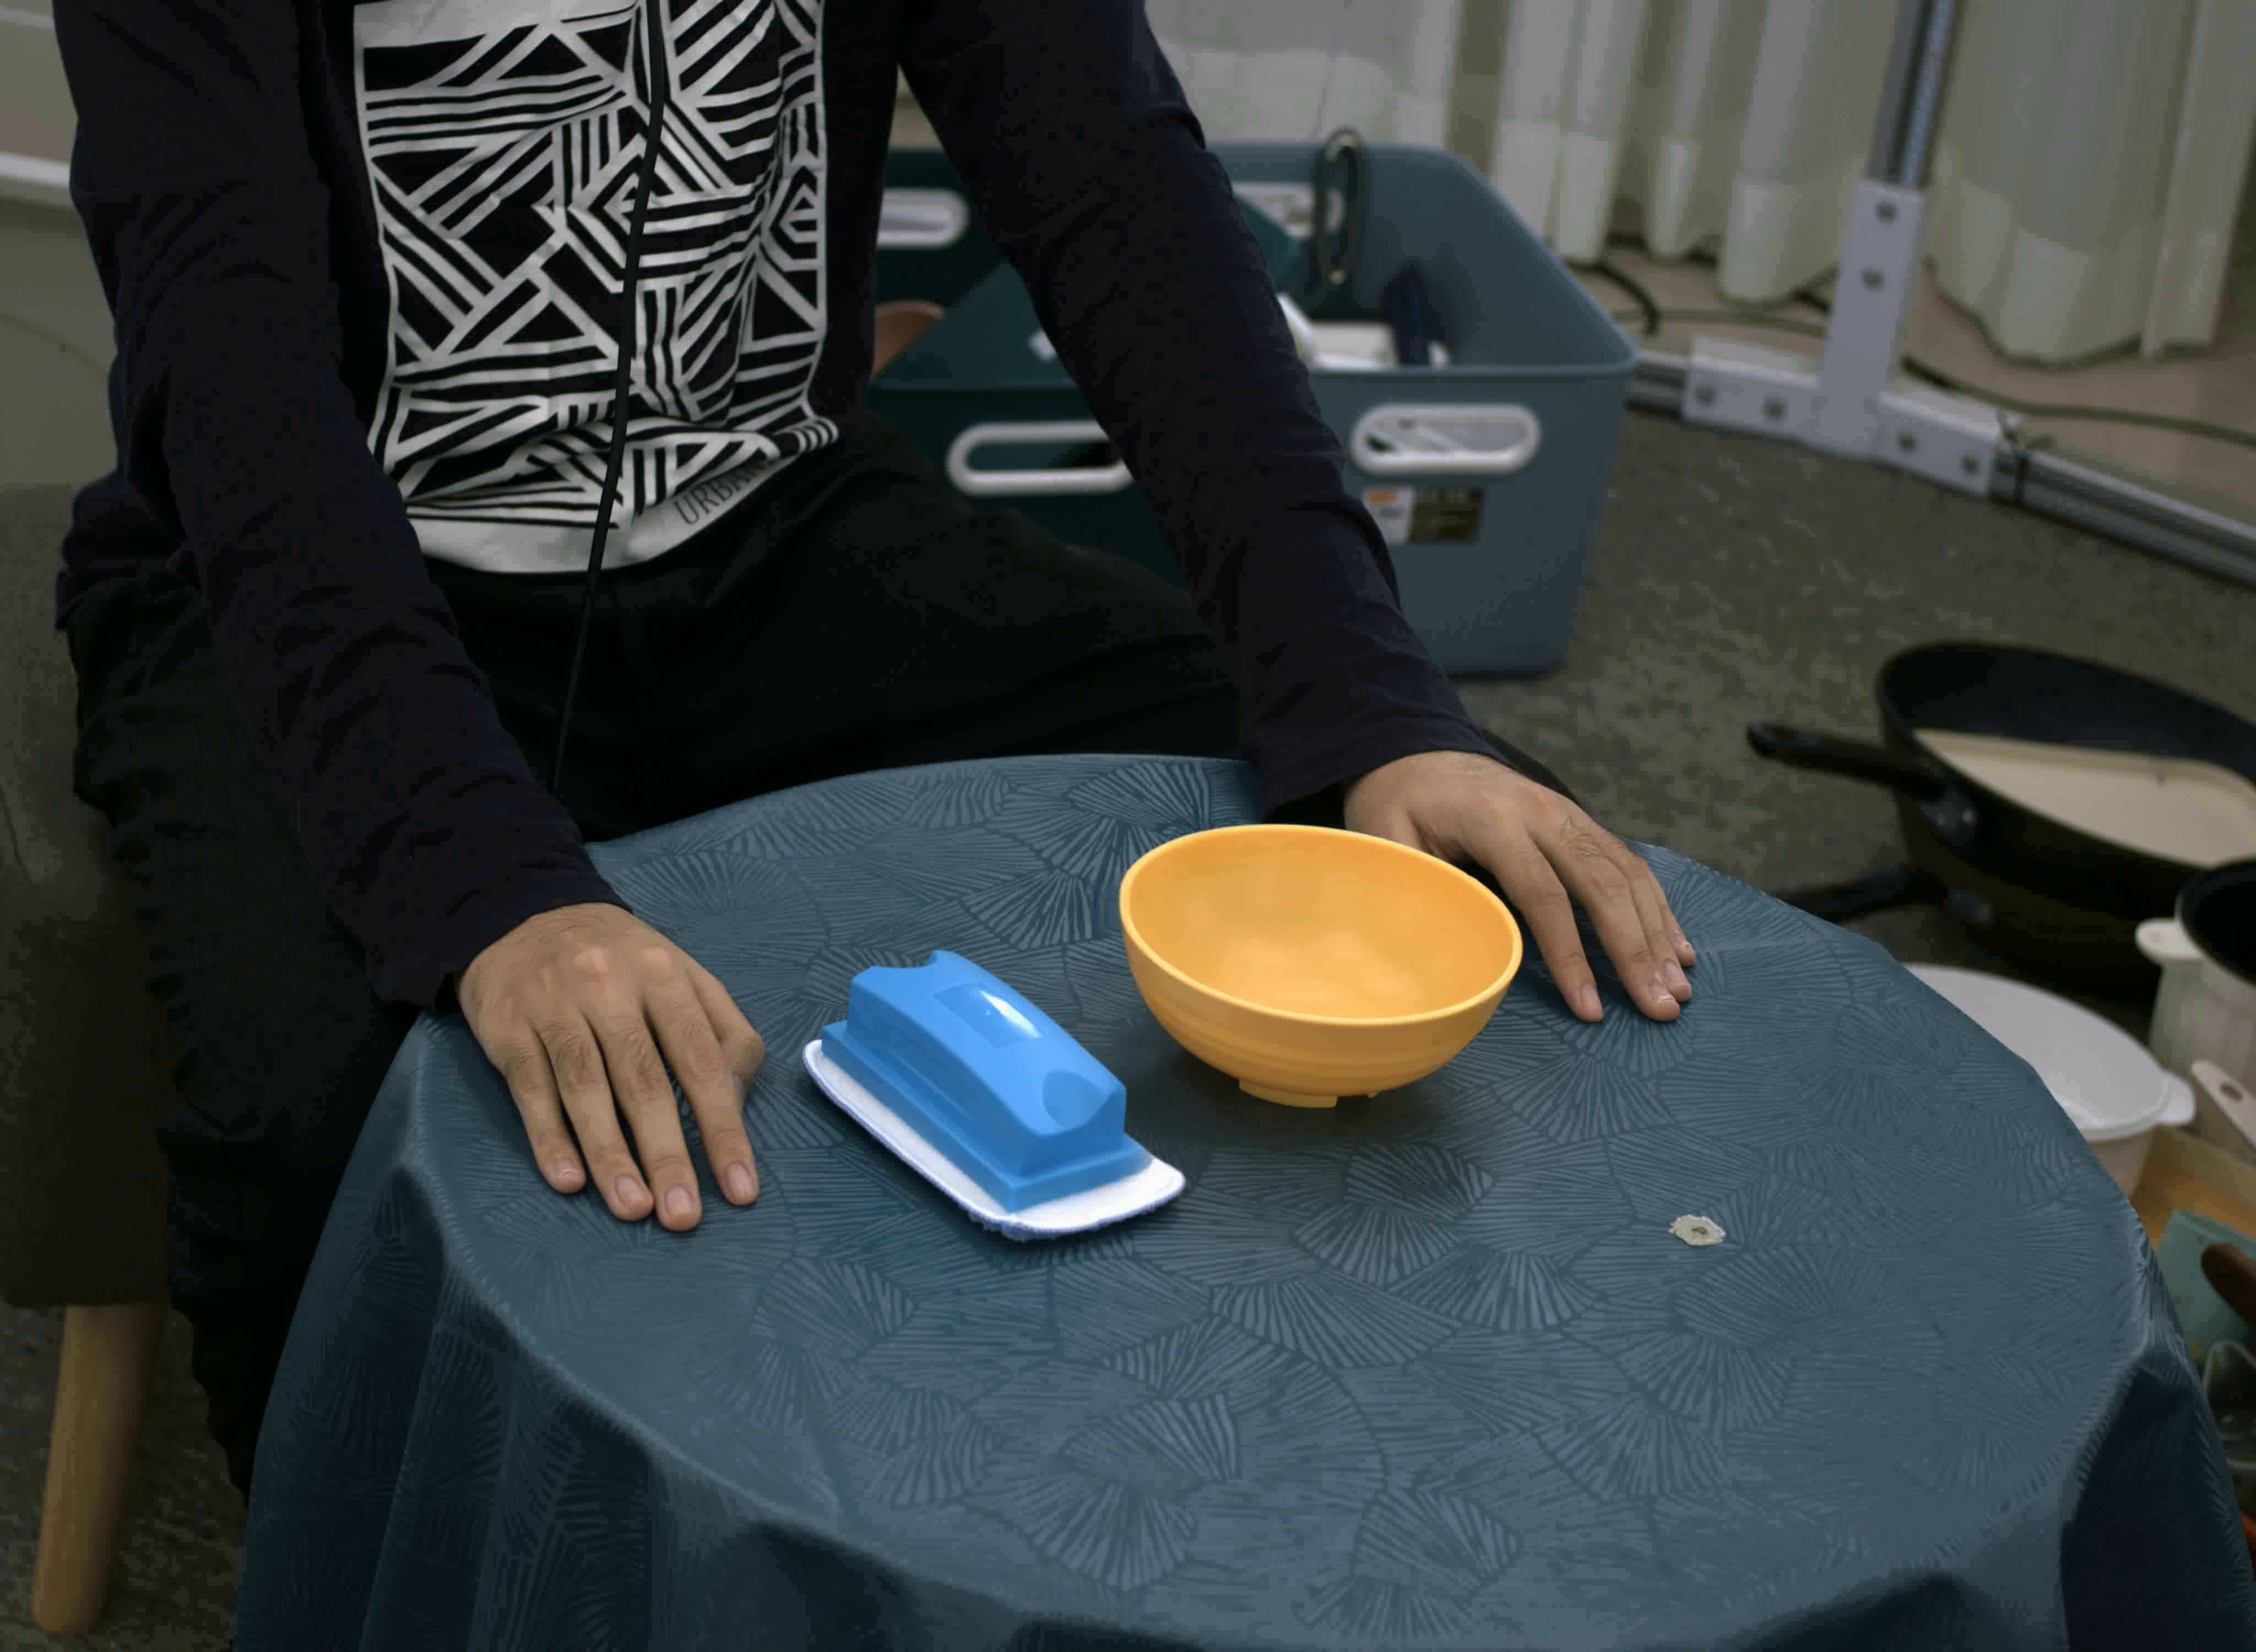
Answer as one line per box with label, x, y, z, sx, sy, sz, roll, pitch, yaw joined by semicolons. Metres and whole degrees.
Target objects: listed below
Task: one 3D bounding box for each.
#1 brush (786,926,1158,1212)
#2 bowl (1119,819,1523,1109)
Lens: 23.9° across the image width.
brush;-0.051;0.079;1.816;0.083;0.056;0.145;-8;32;-33
bowl;0.064;0.058;1.886;0.145;0.060;0.146;6;28;-4
